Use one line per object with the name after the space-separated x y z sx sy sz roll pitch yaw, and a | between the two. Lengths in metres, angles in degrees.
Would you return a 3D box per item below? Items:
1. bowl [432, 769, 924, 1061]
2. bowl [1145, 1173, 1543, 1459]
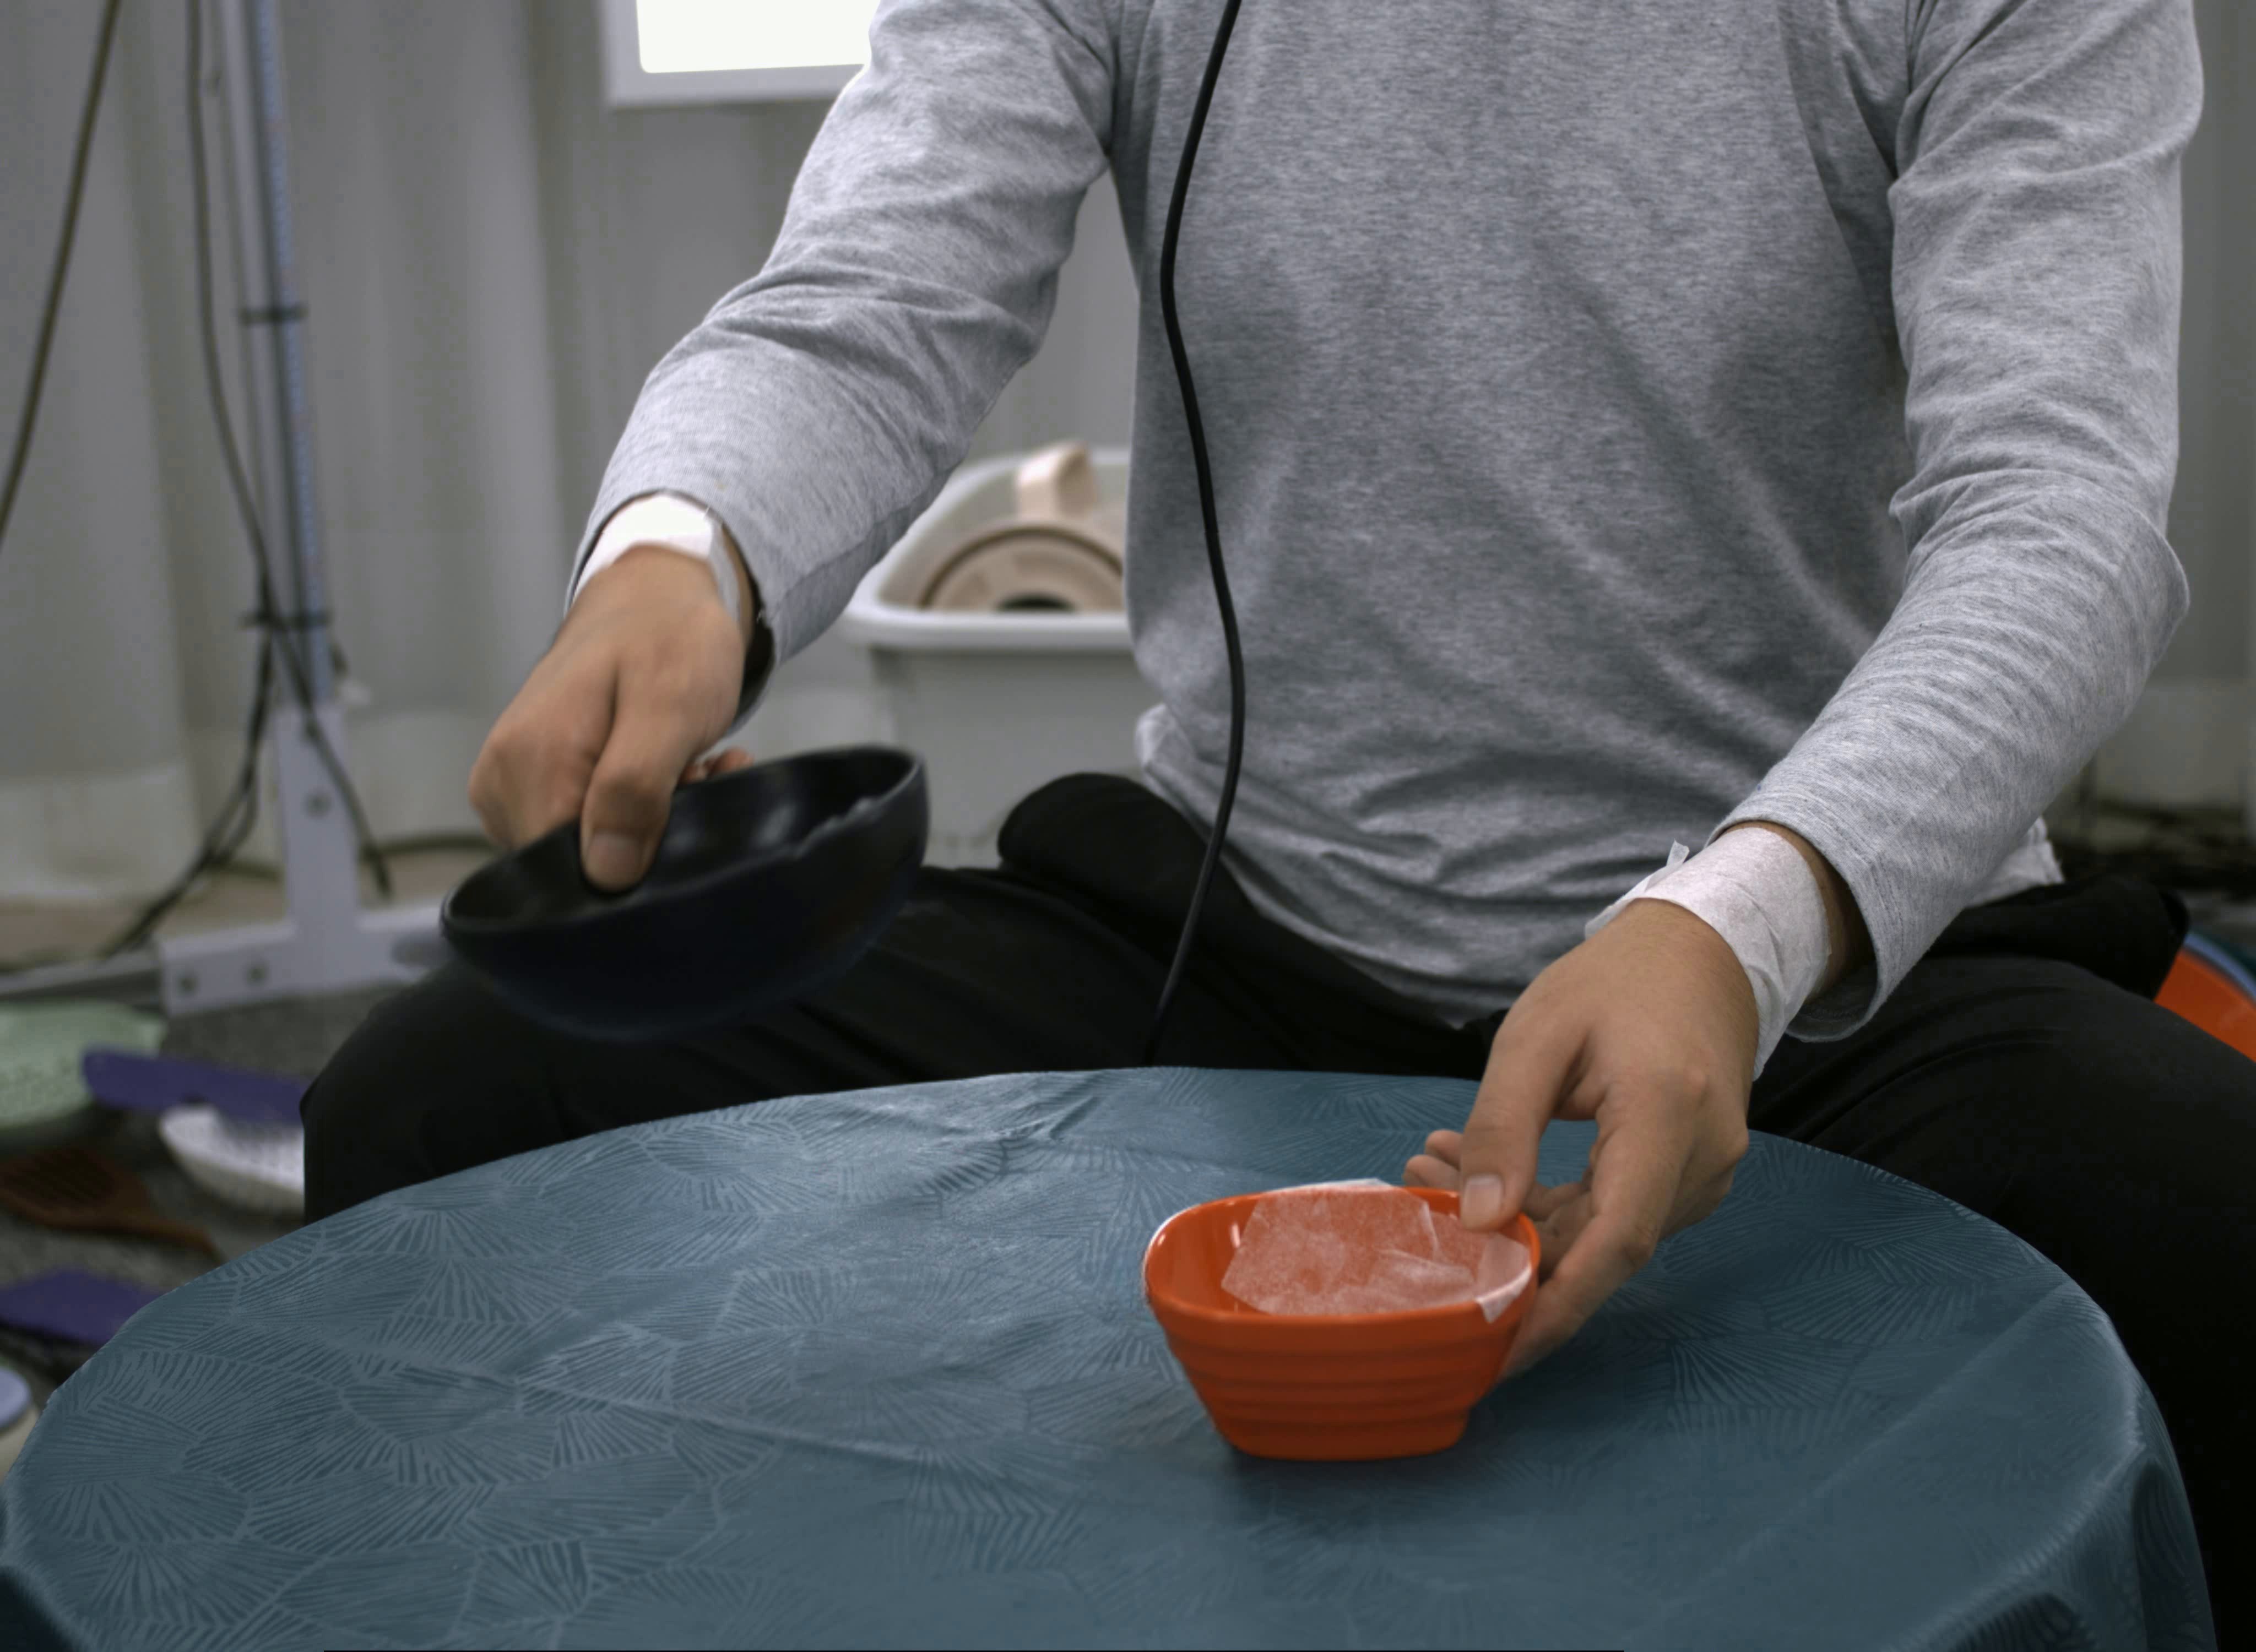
-0.117 0.029 1.496 0.139 0.049 0.140 -16 10 2 | bowl
0.061 0.138 1.511 0.118 0.051 0.120 -4 17 1 | bowl
